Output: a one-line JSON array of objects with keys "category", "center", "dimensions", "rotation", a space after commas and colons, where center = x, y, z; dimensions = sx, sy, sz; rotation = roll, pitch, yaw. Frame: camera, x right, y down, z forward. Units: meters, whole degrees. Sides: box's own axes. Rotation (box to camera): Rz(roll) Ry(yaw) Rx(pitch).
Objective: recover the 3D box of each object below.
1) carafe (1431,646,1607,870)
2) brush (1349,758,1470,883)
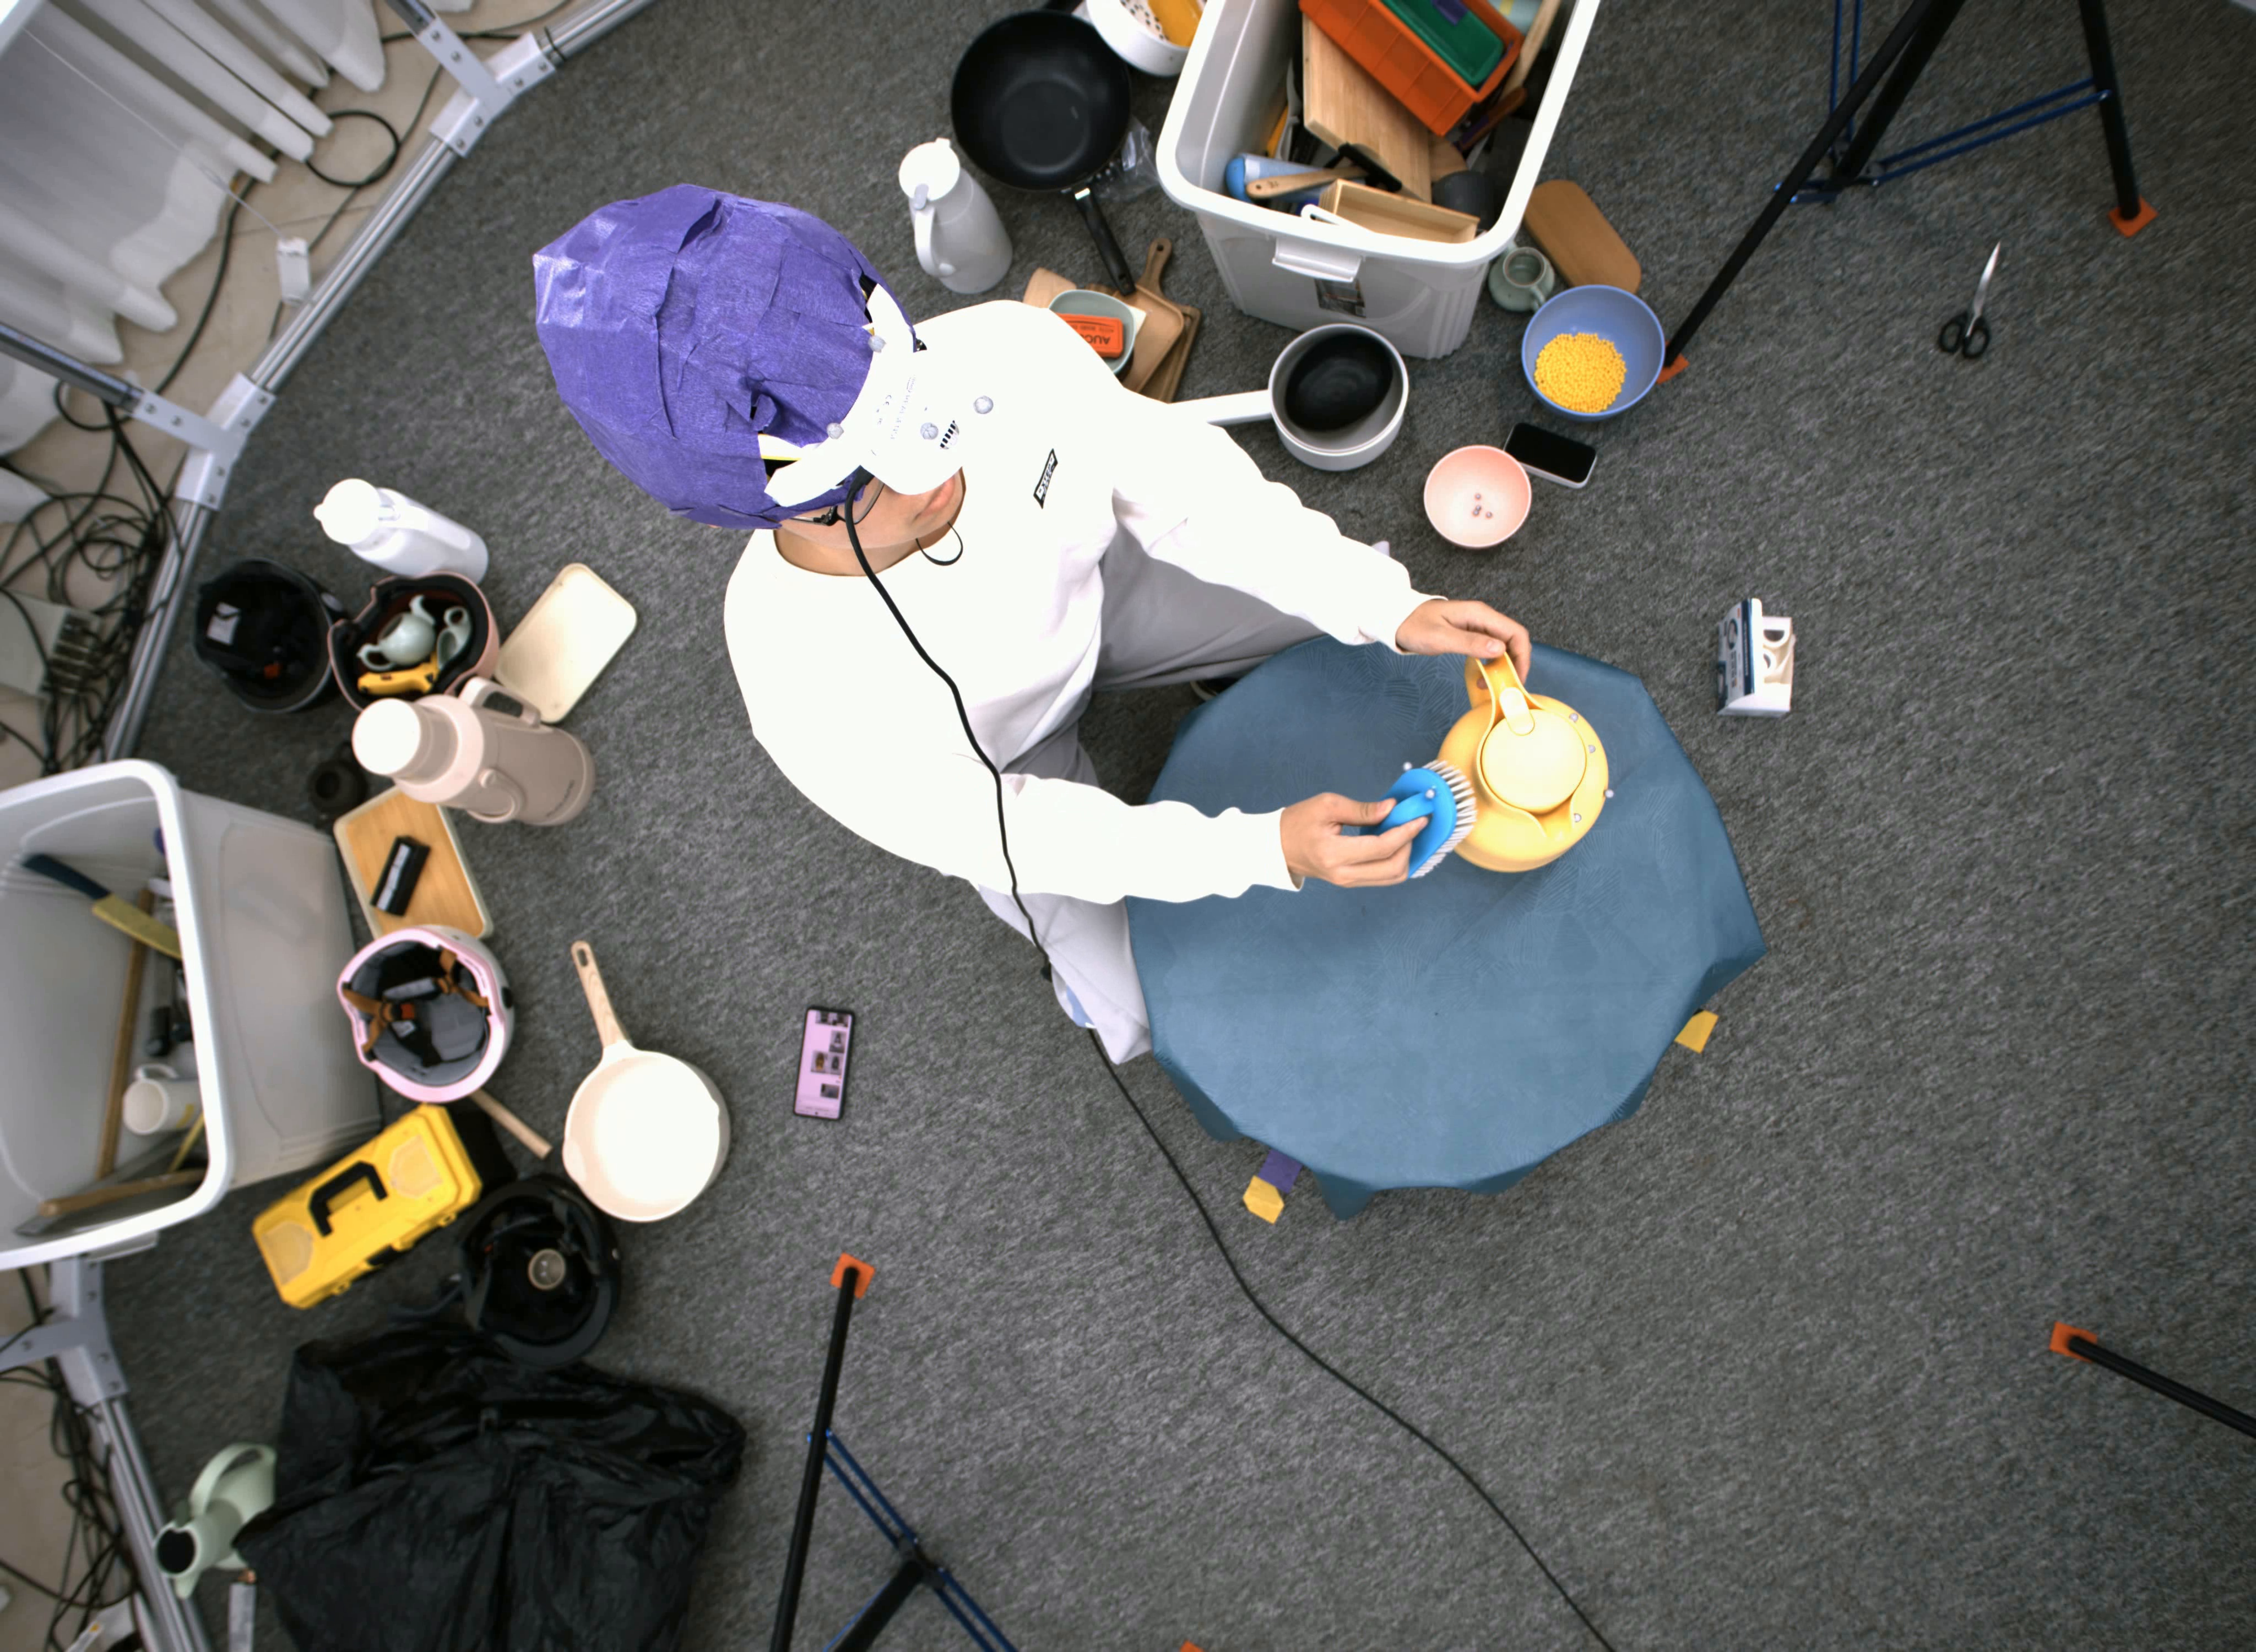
[{"category": "carafe", "center": [0.369, -0.066, 1.316], "dimensions": [0.164, 0.261, 0.201], "rotation": [-17, 83, 6]}, {"category": "brush", "center": [0.247, 0.000, 1.260], "dimensions": [0.063, 0.145, 0.083], "rotation": [-21, 71, -32]}]
